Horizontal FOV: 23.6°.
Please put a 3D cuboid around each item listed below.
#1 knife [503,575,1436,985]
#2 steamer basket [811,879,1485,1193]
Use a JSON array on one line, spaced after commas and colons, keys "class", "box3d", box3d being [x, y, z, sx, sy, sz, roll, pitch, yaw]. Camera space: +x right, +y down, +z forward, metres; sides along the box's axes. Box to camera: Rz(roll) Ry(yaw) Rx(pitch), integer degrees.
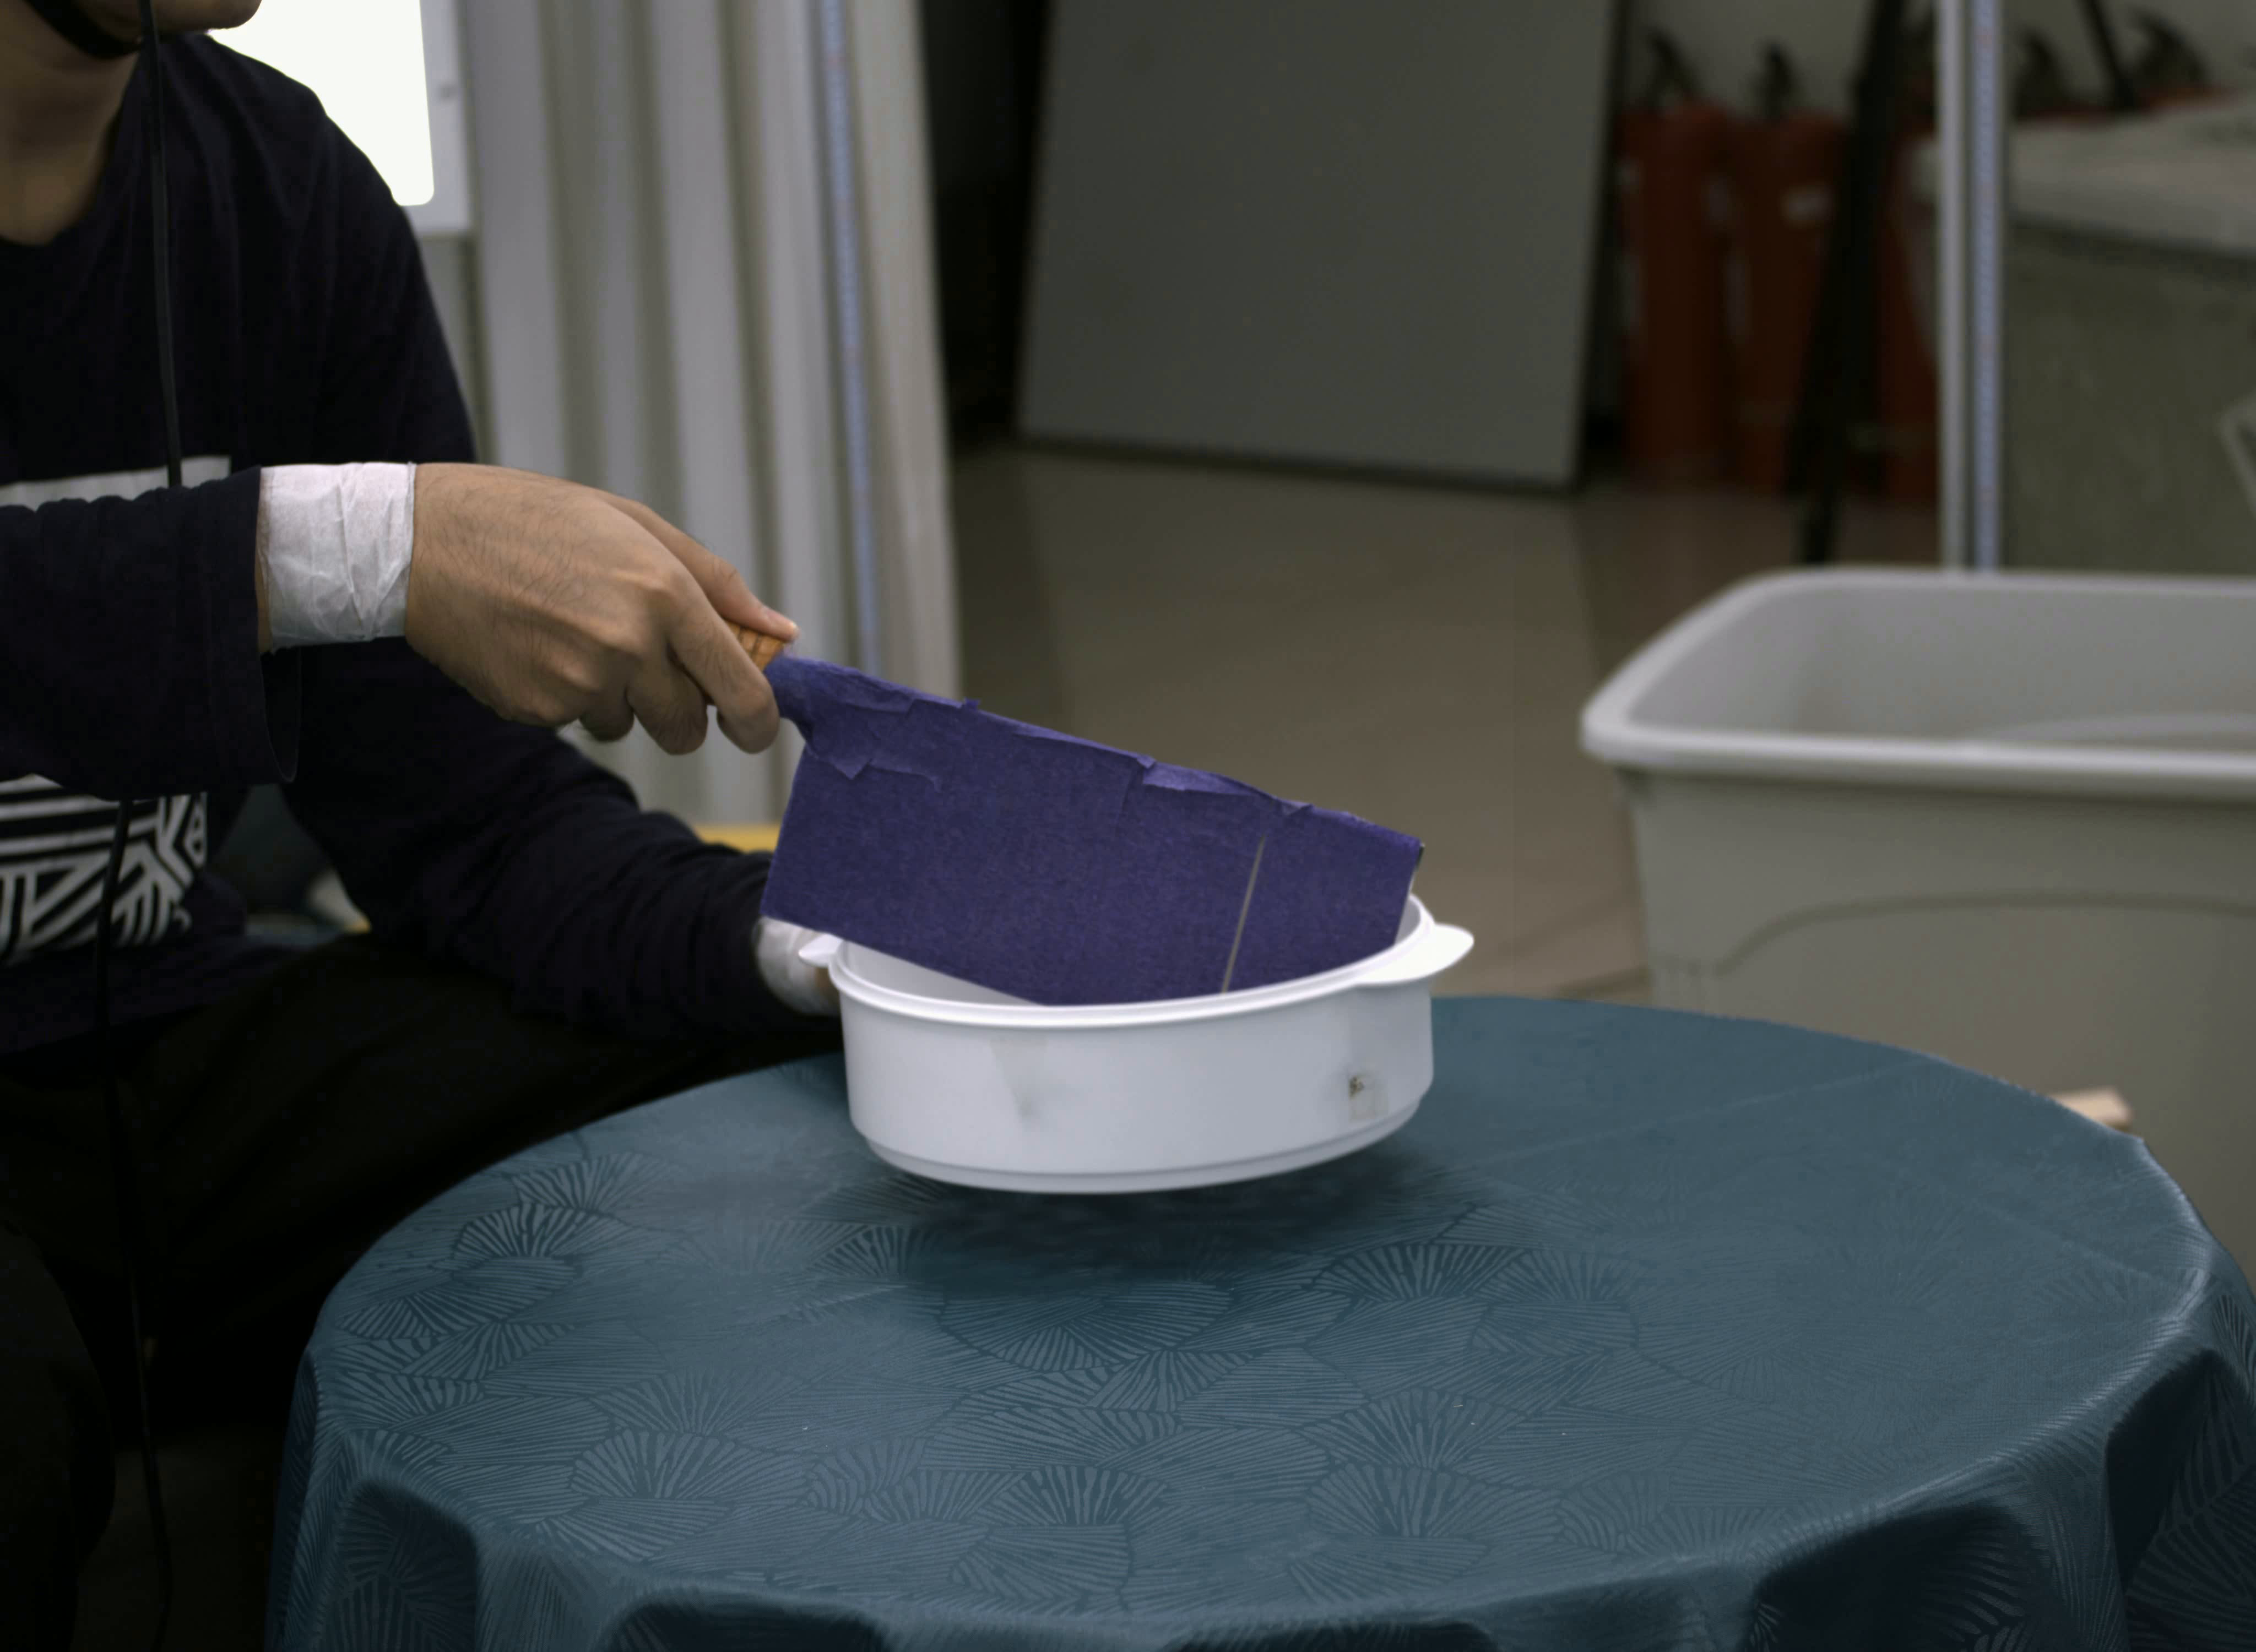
[{"class": "knife", "box3d": [-0.060, 0.001, 1.761, 0.313, 0.105, 0.032, 16, 12, 7]}, {"class": "steamer basket", "box3d": [0.008, 0.066, 1.763, 0.231, 0.070, 0.199, -3, 10, 25]}]
